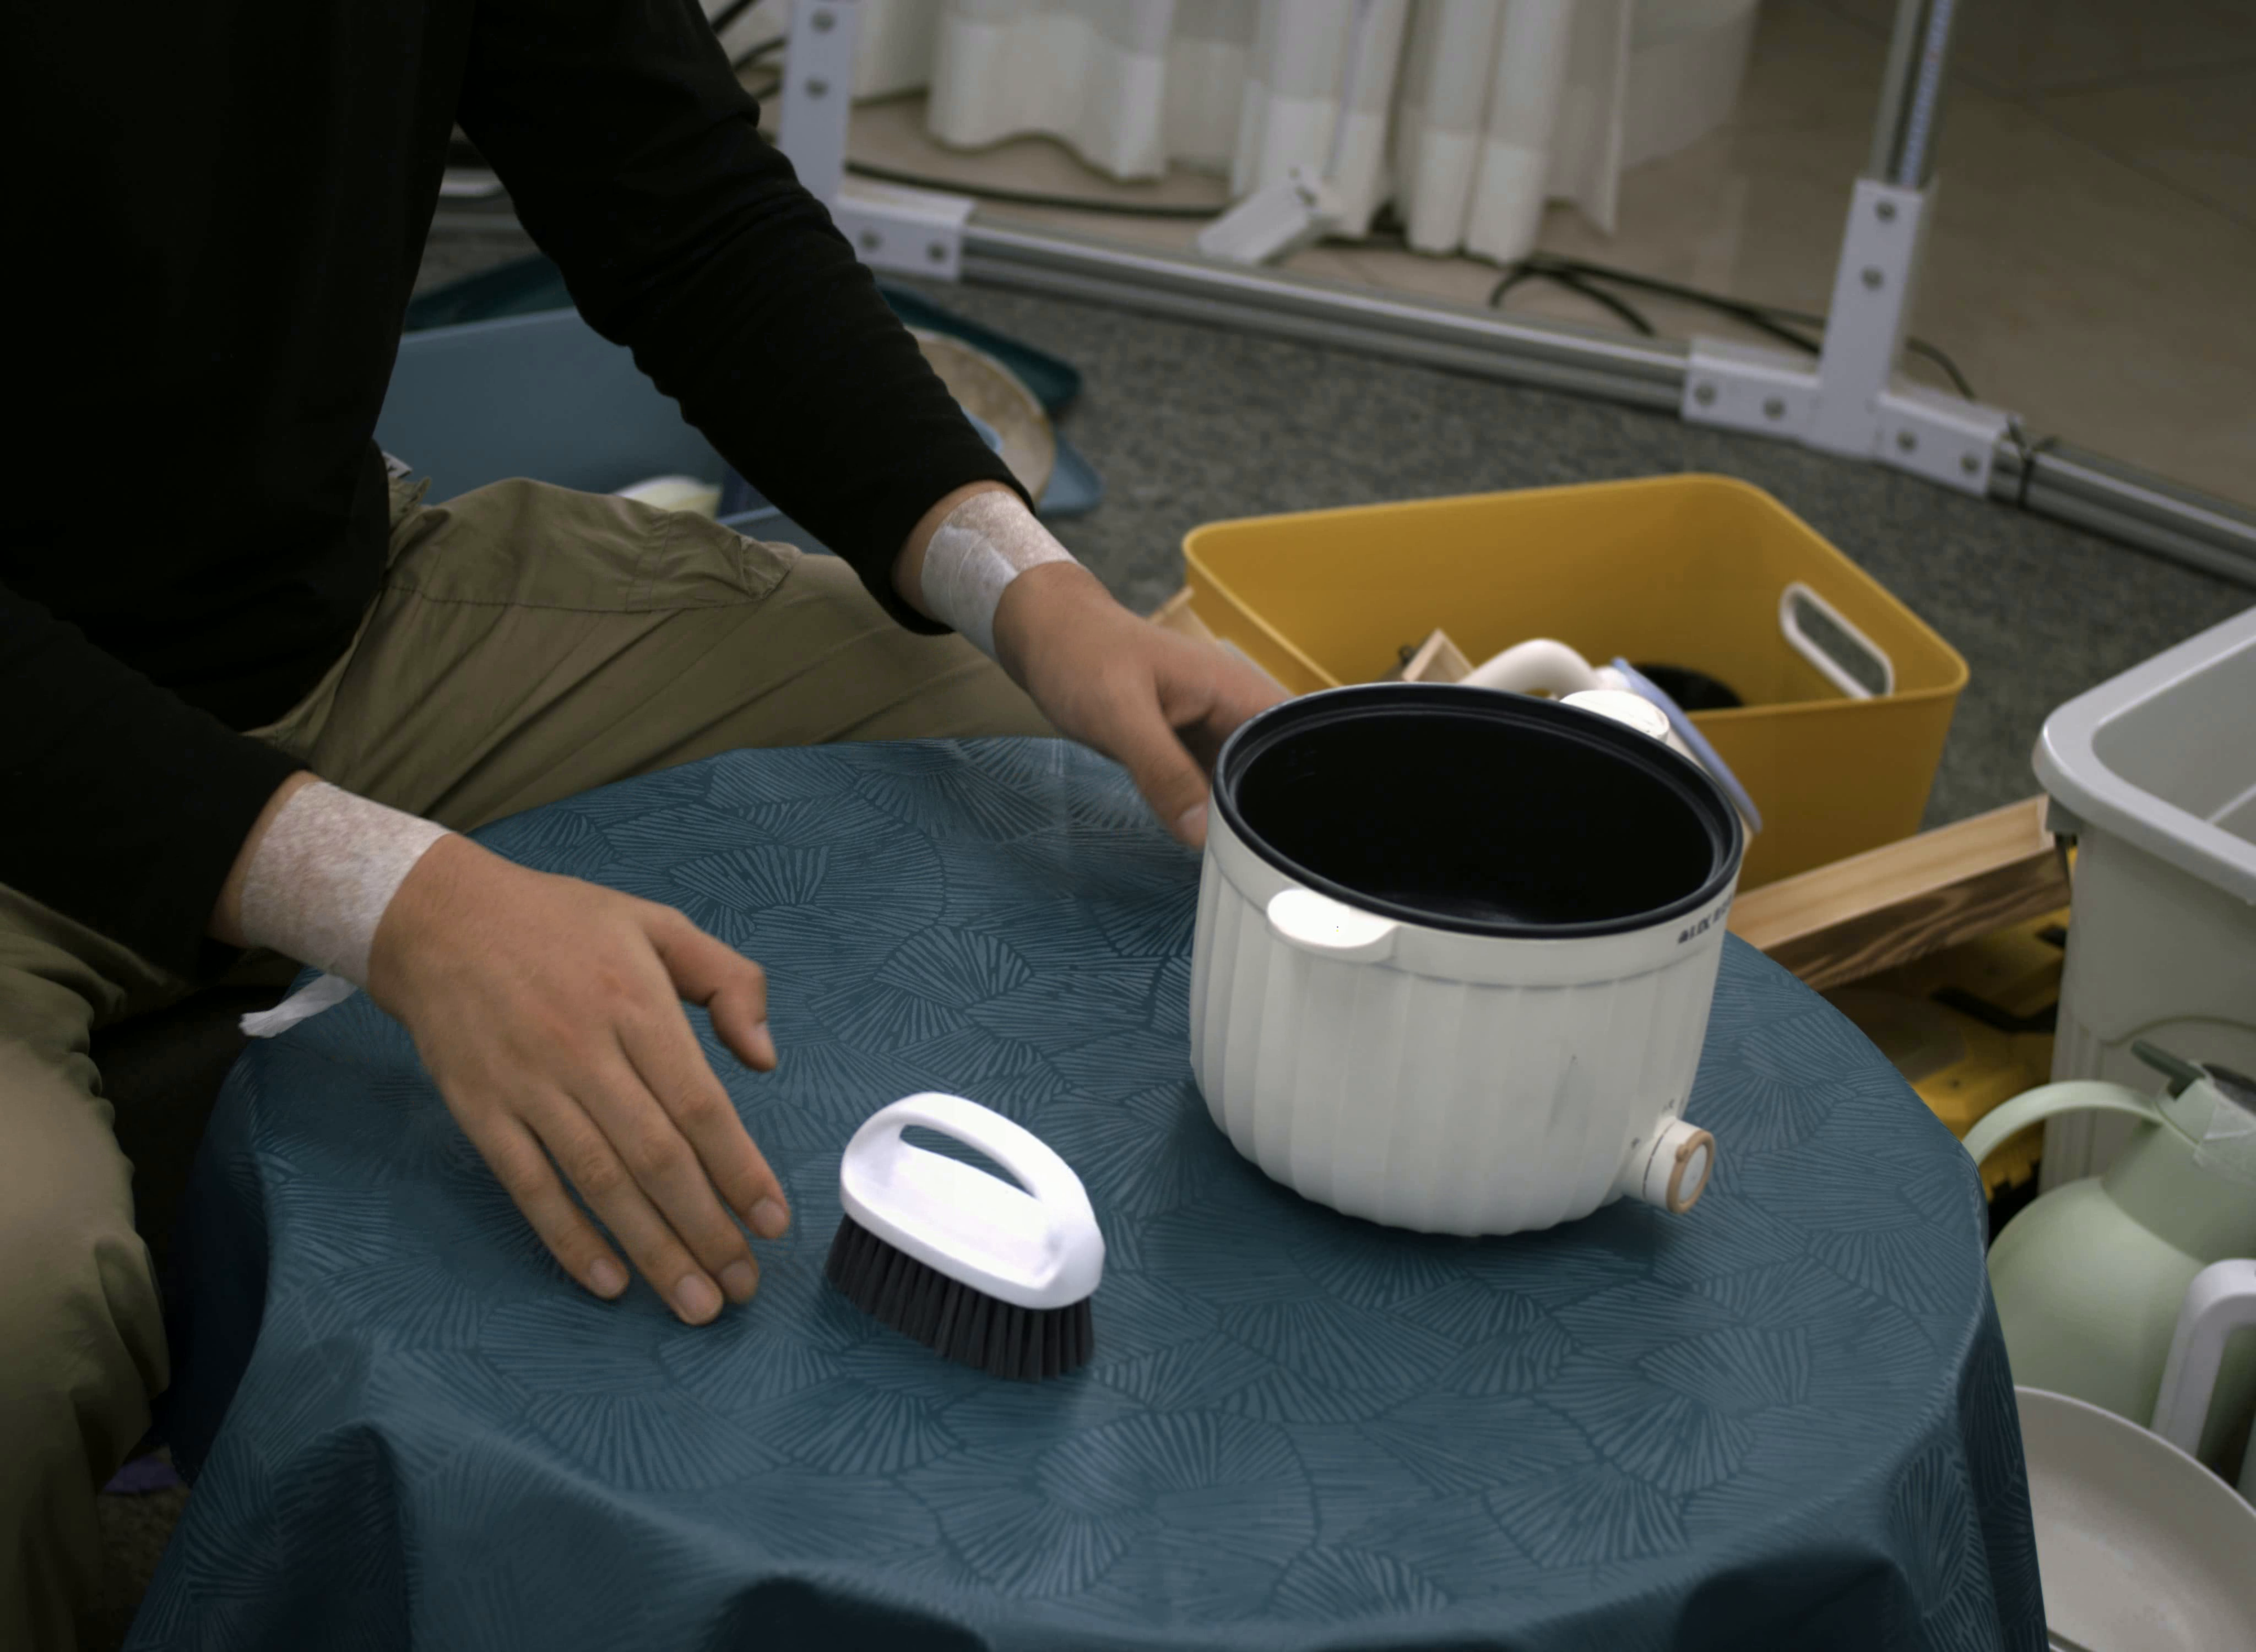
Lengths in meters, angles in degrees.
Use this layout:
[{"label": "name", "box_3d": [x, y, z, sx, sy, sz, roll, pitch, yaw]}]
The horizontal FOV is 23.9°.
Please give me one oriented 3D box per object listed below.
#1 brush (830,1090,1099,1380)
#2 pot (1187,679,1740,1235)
[{"label": "brush", "box_3d": [-0.052, 0.124, 1.709, 0.100, 0.072, 0.050, 27, 33, 34]}, {"label": "pot", "box_3d": [0.115, 0.050, 1.819, 0.191, 0.142, 0.240, 18, 30, 27]}]
